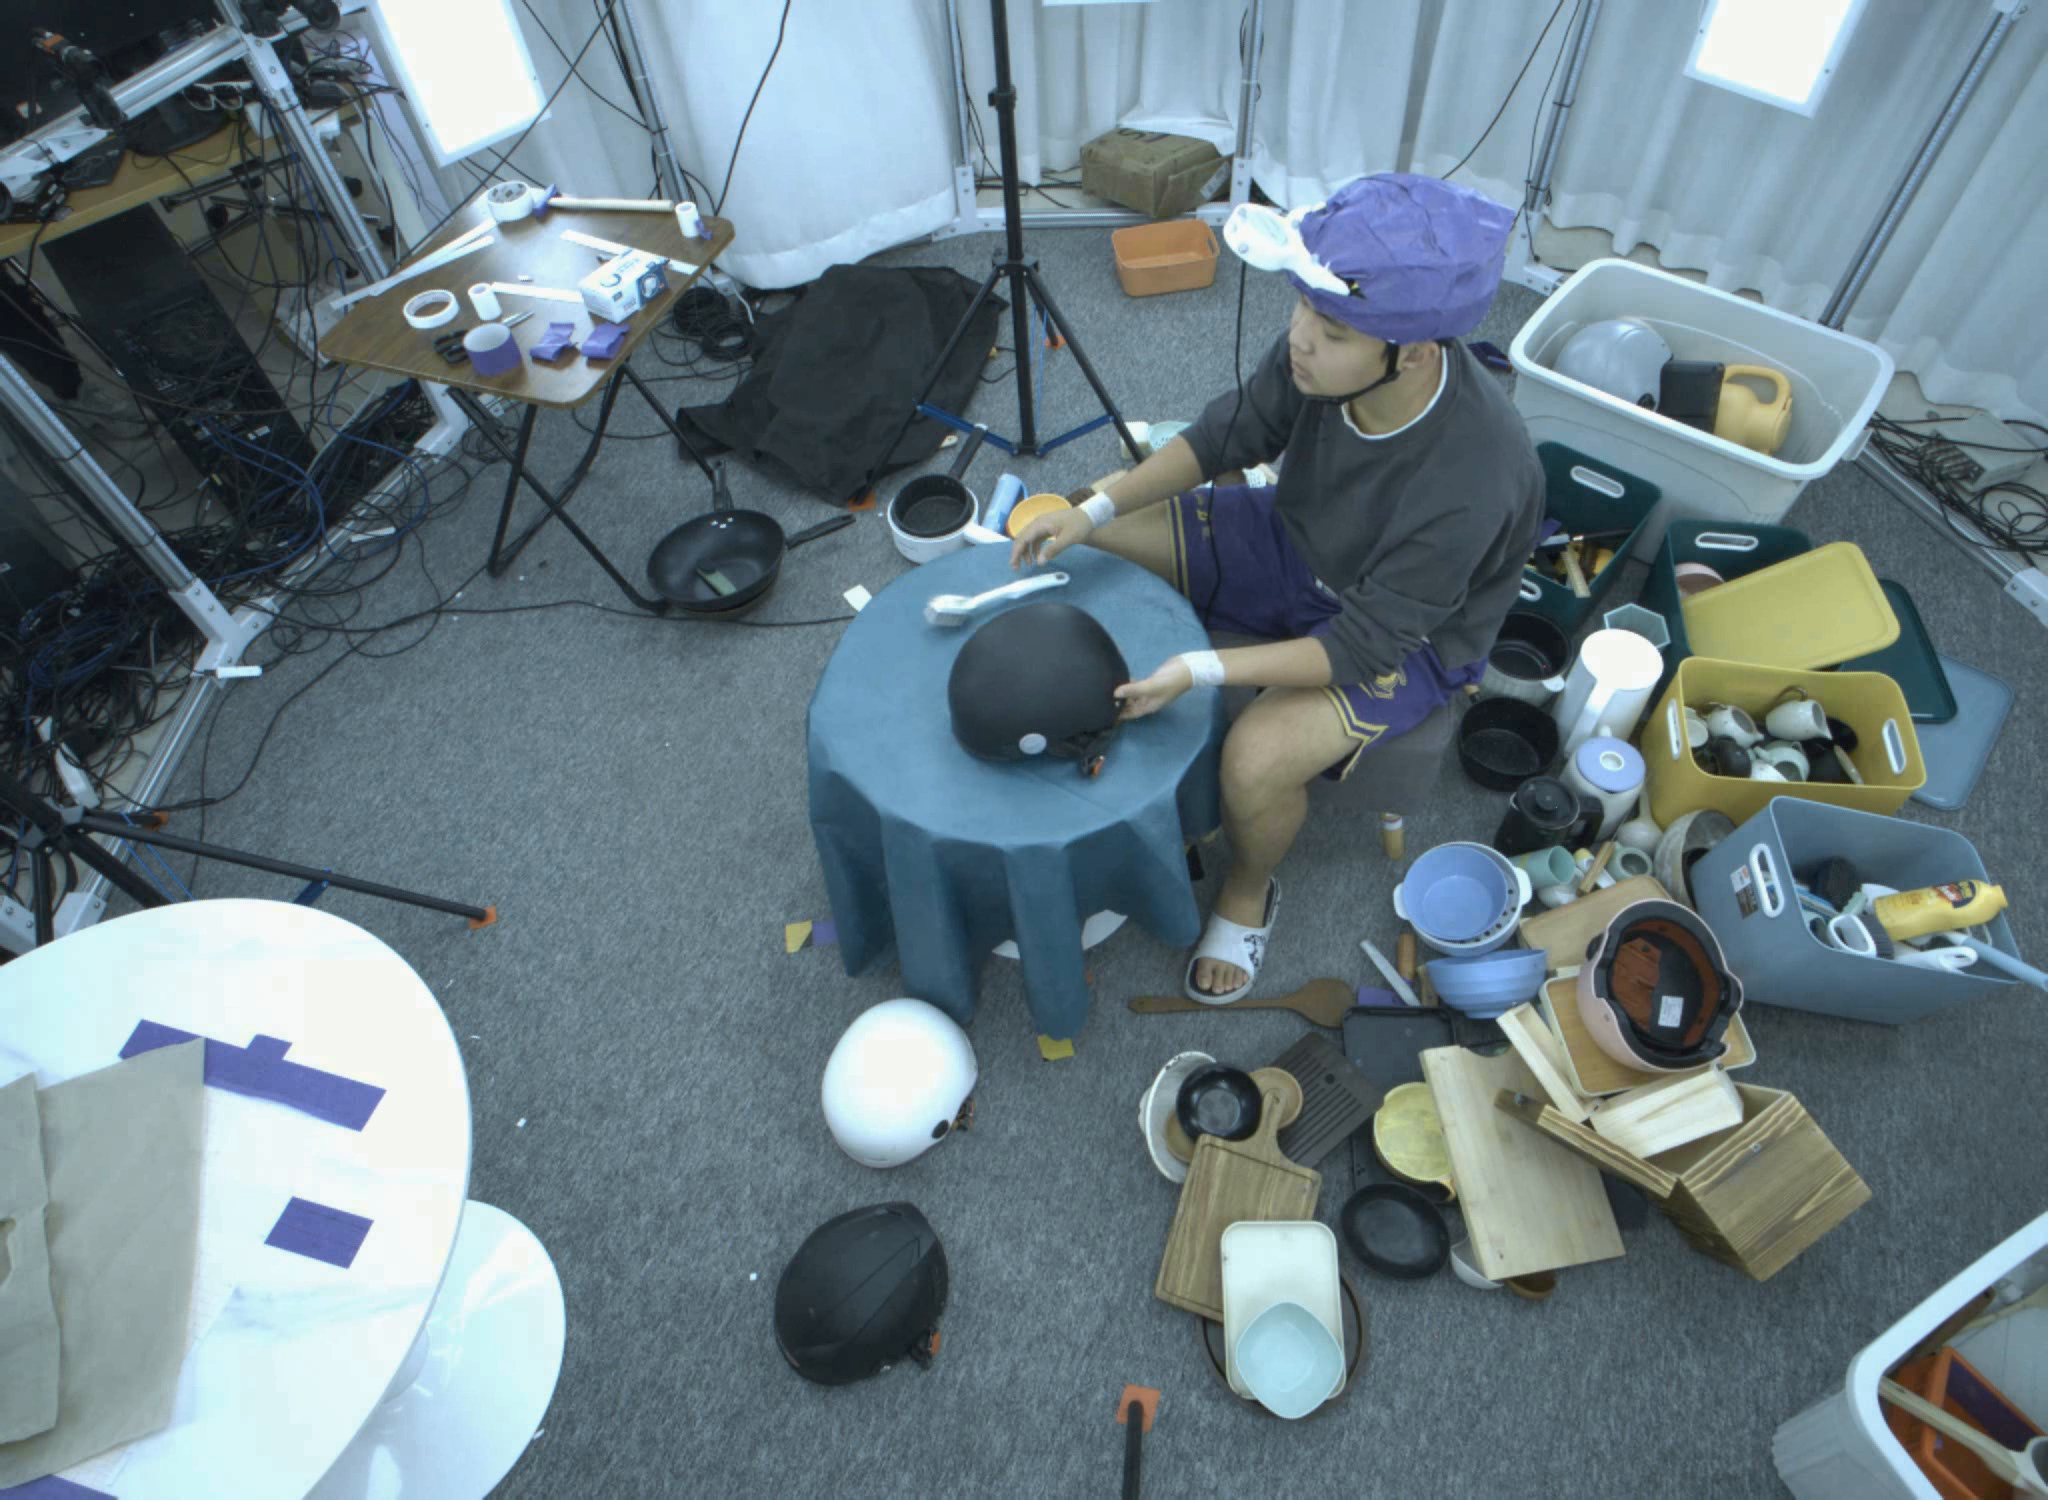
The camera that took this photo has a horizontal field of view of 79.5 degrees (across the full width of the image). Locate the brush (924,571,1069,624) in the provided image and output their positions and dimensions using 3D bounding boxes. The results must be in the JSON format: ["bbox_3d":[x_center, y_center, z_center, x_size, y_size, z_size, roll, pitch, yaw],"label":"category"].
[{"bbox_3d":[-0.042,-0.241,1.948,0.247,0.050,0.034,-15,50,-24],"label":"brush"}]

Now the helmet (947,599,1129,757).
[{"bbox_3d":[0.011,-0.119,1.768,0.274,0.169,0.226,-17,47,-4],"label":"helmet"}]
